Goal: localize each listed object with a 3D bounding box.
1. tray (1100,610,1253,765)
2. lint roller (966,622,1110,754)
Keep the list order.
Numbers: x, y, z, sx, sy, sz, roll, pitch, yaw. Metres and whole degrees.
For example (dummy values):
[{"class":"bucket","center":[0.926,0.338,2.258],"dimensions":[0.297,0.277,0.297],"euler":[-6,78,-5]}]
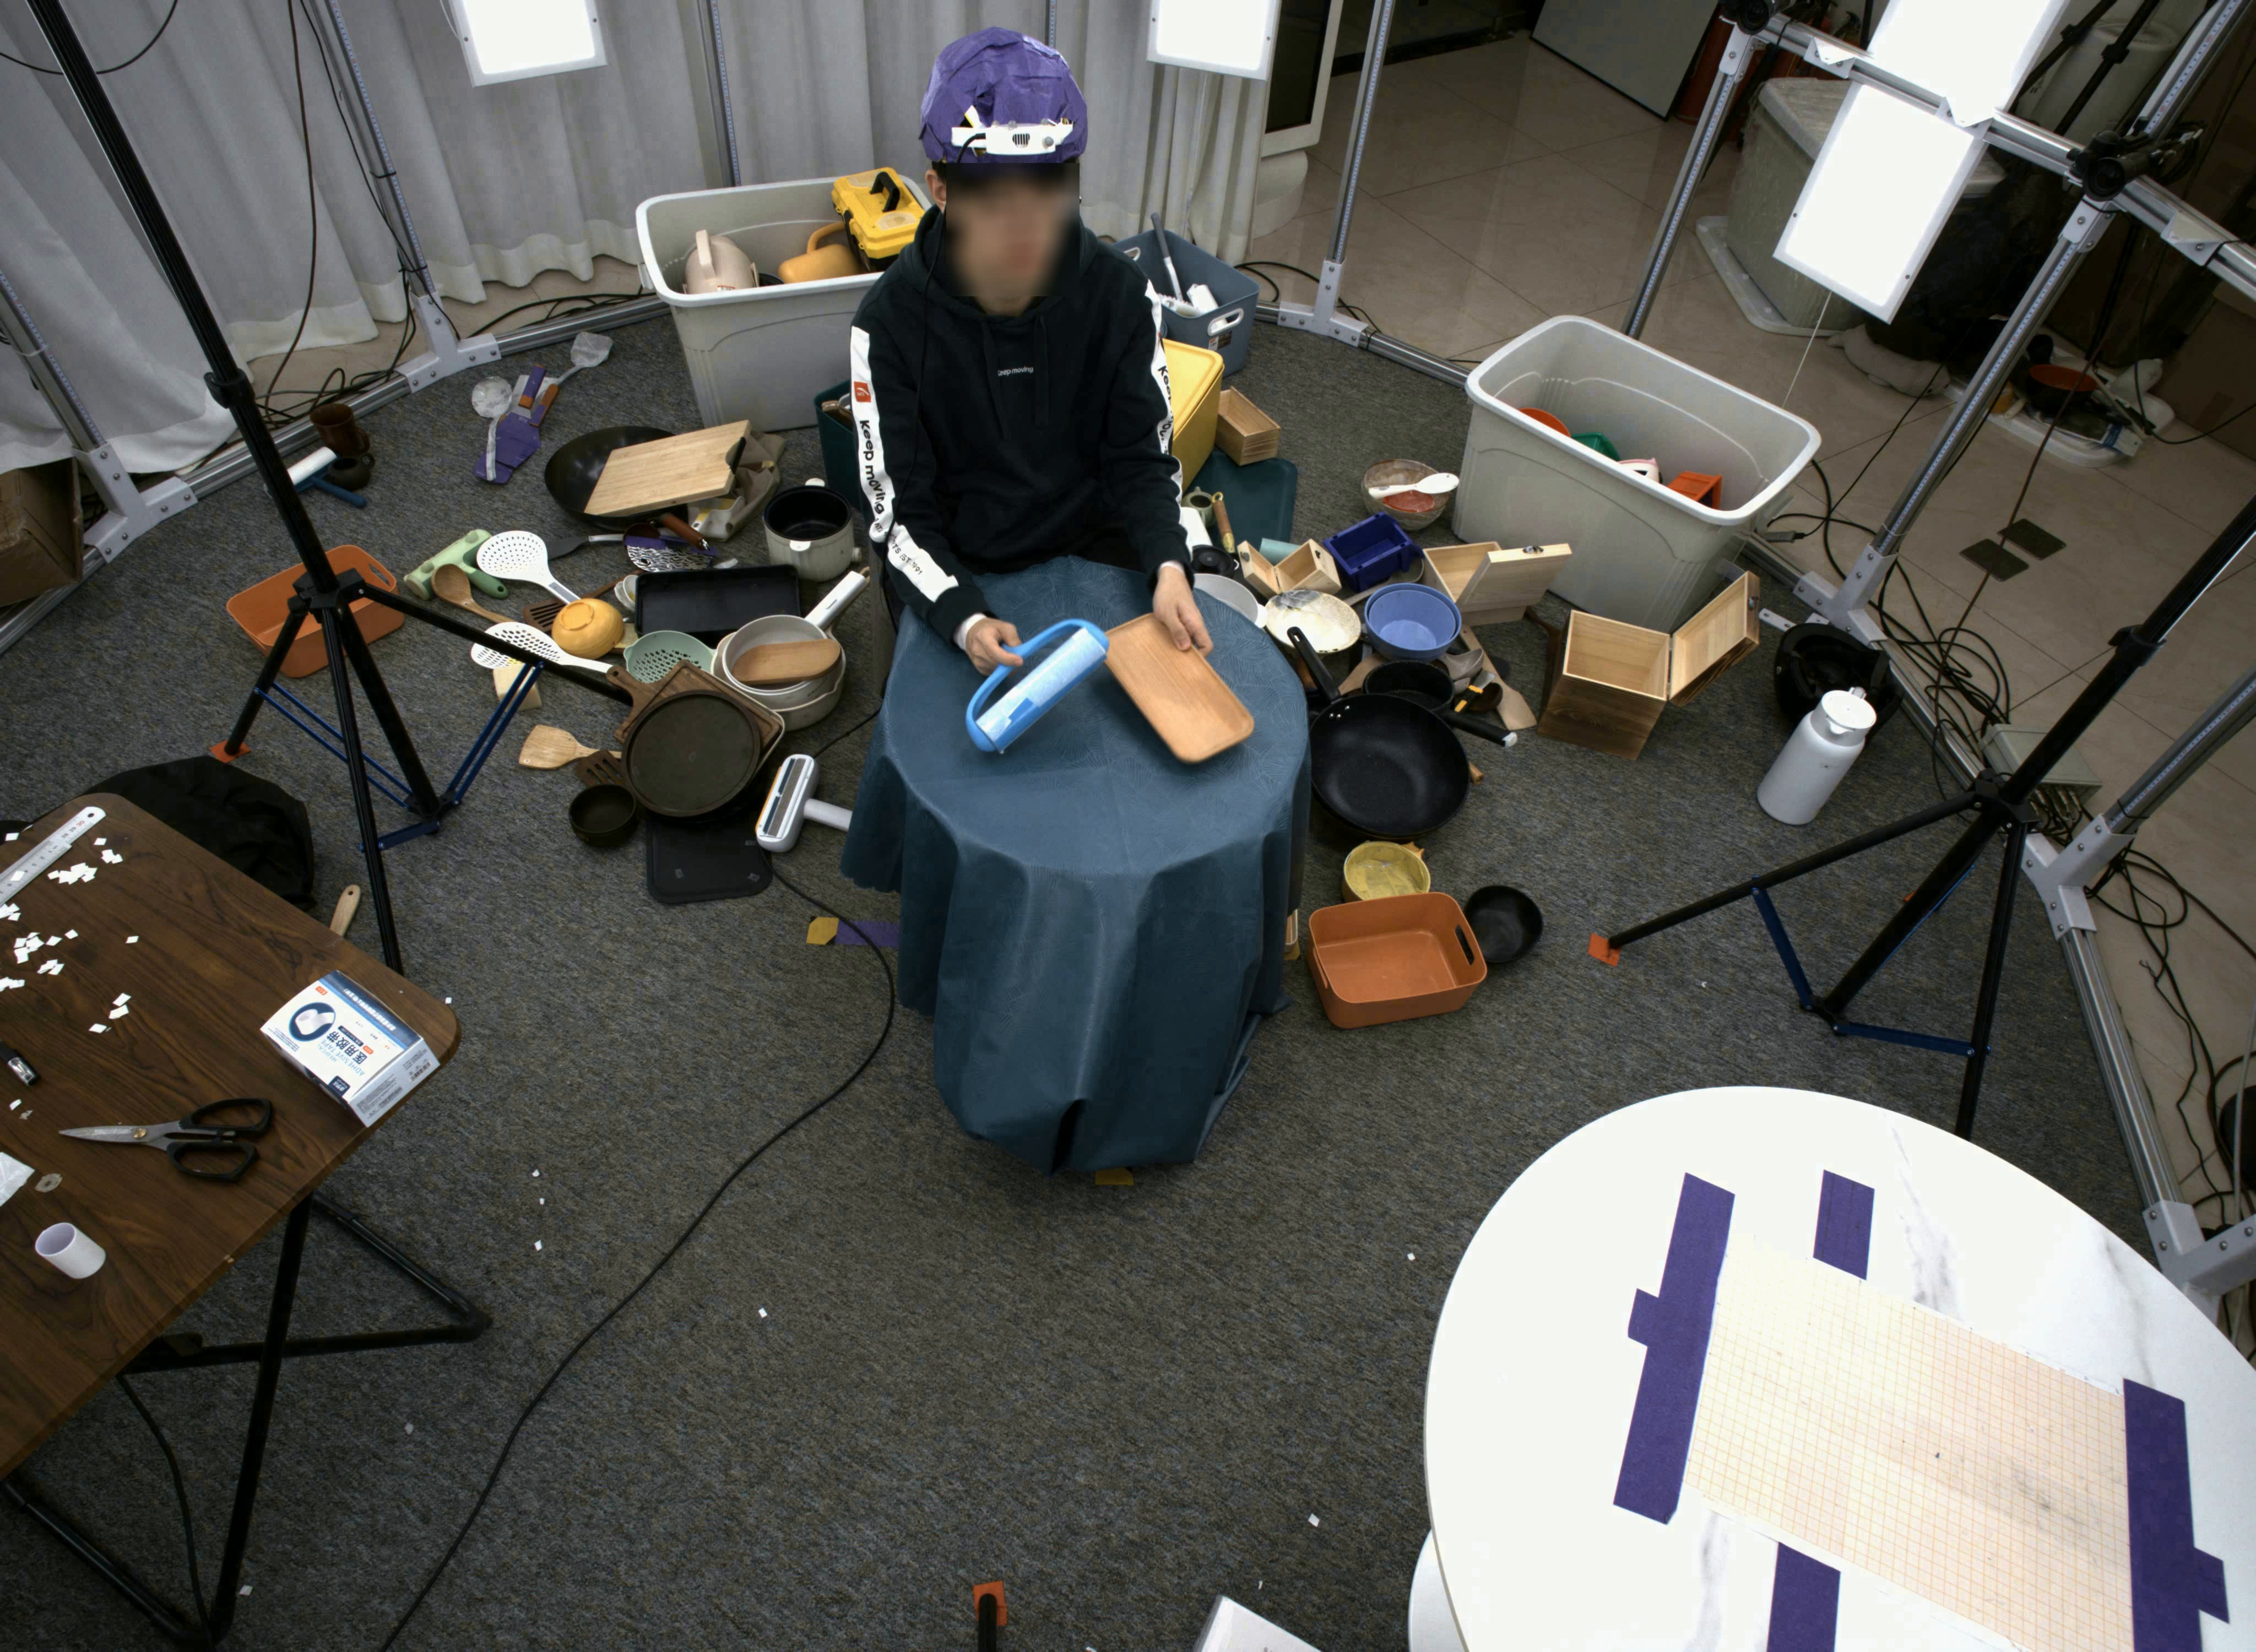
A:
[{"class":"tray","center":[0.063,-0.195,1.786],"dimensions":[0.131,0.022,0.255],"euler":[-23,63,-22]},{"class":"lint roller","center":[-0.148,-0.210,1.758],"dimensions":[0.229,0.066,0.184],"euler":[-44,46,-6]}]
